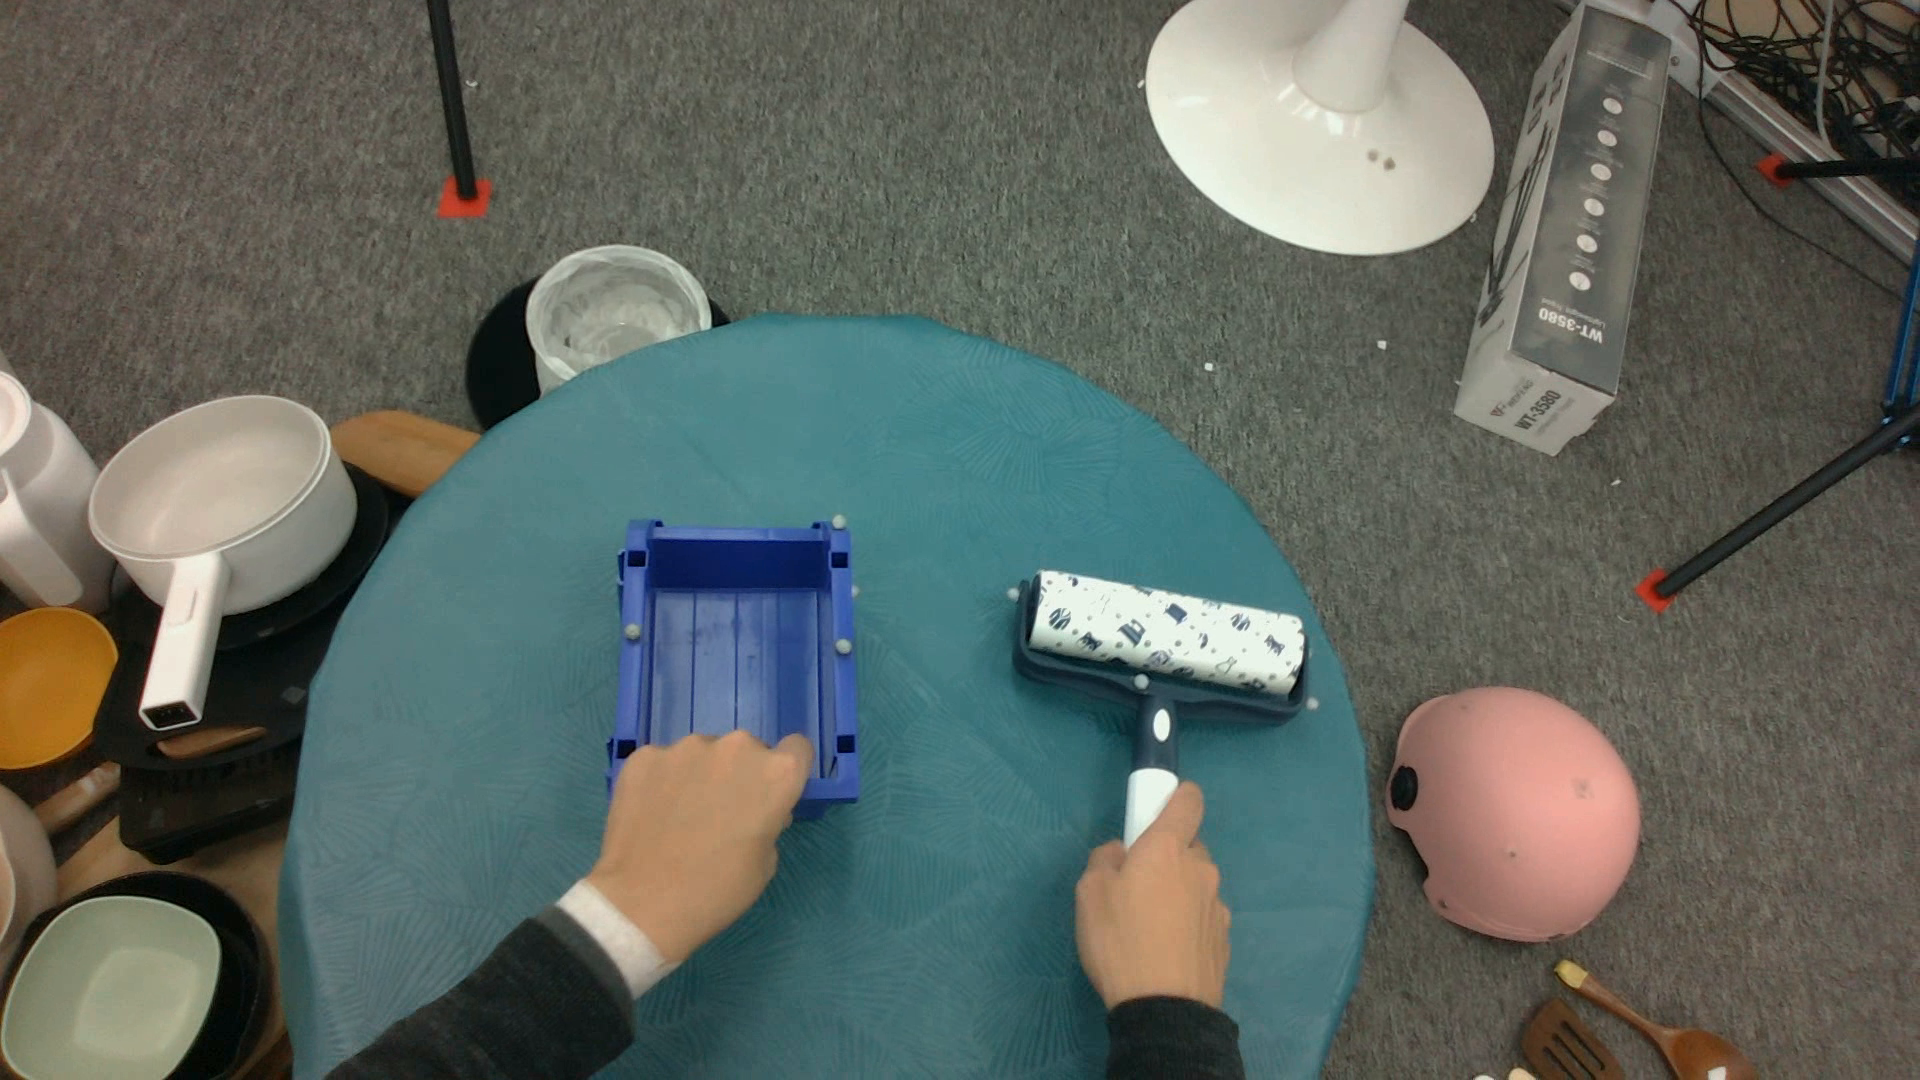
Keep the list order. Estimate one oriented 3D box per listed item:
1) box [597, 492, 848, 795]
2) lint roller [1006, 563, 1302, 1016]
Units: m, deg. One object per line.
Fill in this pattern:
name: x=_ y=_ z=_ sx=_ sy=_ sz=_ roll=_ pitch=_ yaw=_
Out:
box: x=-0.128 y=0.052 z=0.749 sx=0.124 sy=0.081 sz=0.180 roll=1 pitch=65 yaw=-10
lint roller: x=0.106 y=0.134 z=0.762 sx=0.176 sy=0.050 sz=0.248 roll=11 pitch=56 yaw=-6
